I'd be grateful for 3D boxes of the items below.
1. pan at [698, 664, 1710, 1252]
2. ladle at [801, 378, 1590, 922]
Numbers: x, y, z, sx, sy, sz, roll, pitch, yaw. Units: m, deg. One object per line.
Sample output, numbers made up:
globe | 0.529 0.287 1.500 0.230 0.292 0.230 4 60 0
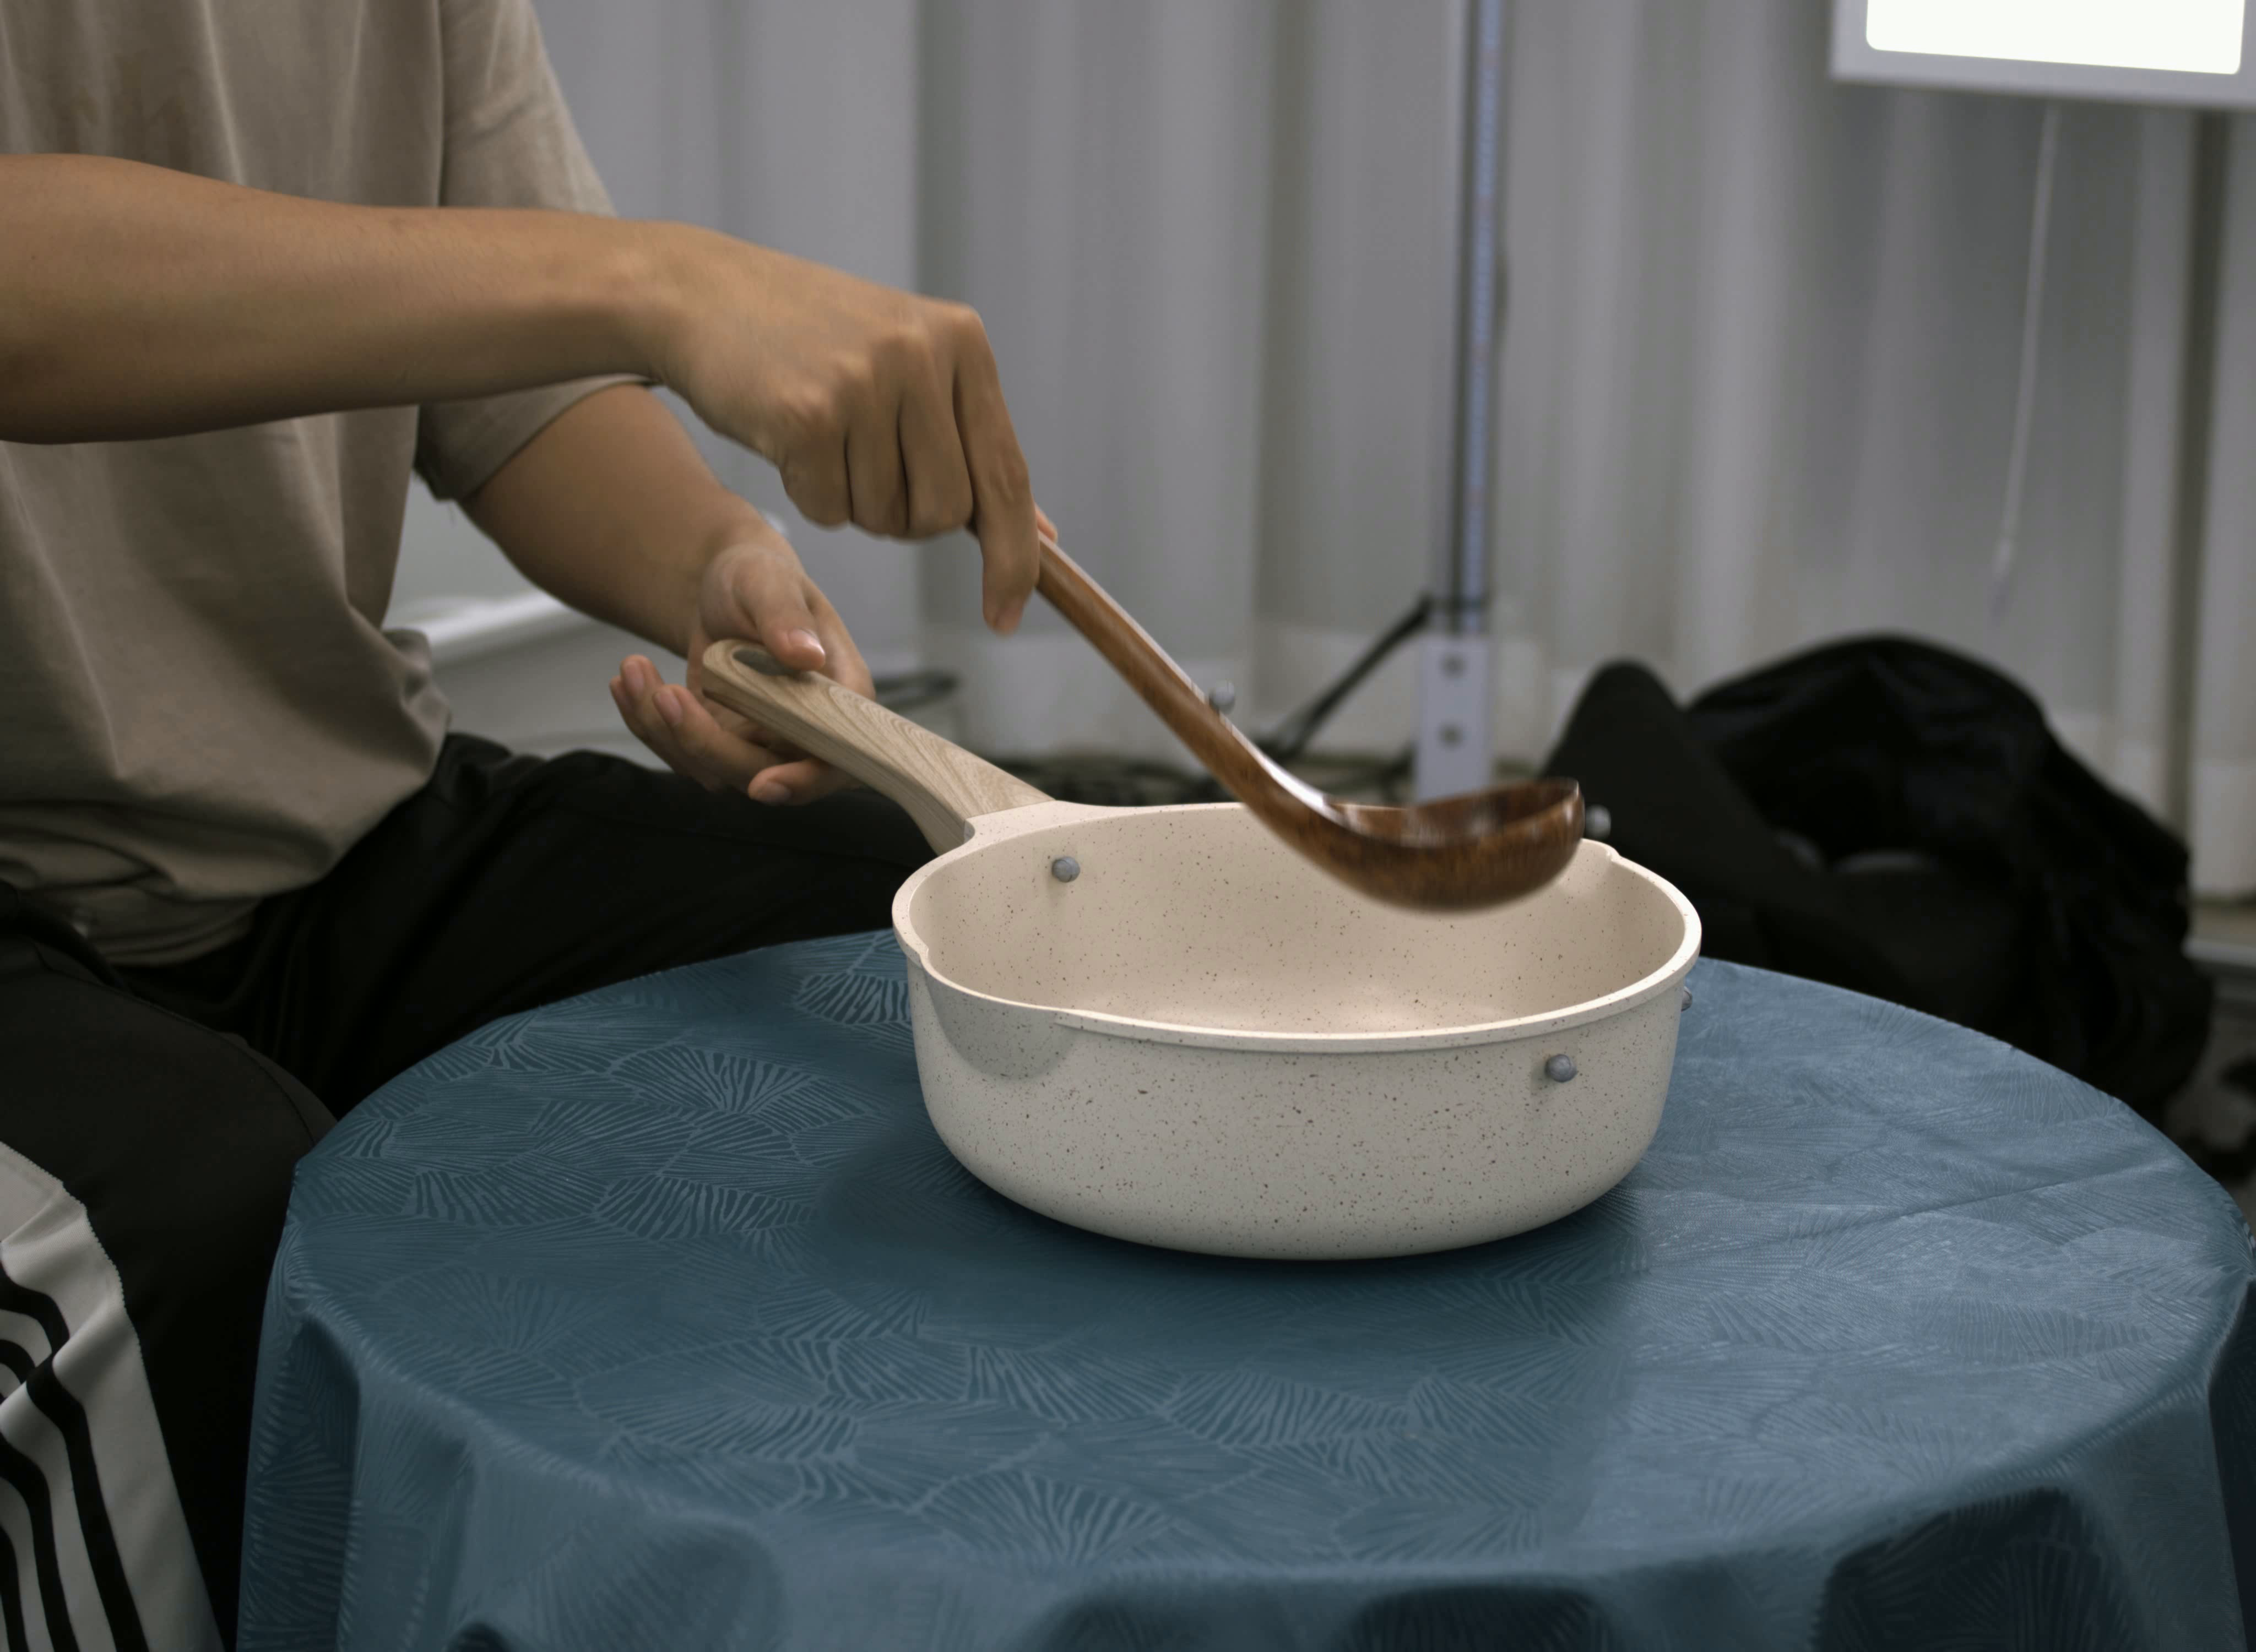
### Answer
pan | -0.003 0.036 1.712 0.264 0.103 0.429 -14 21 -38
ladle | 0.025 -0.065 1.615 0.275 0.076 0.081 43 1 -7
